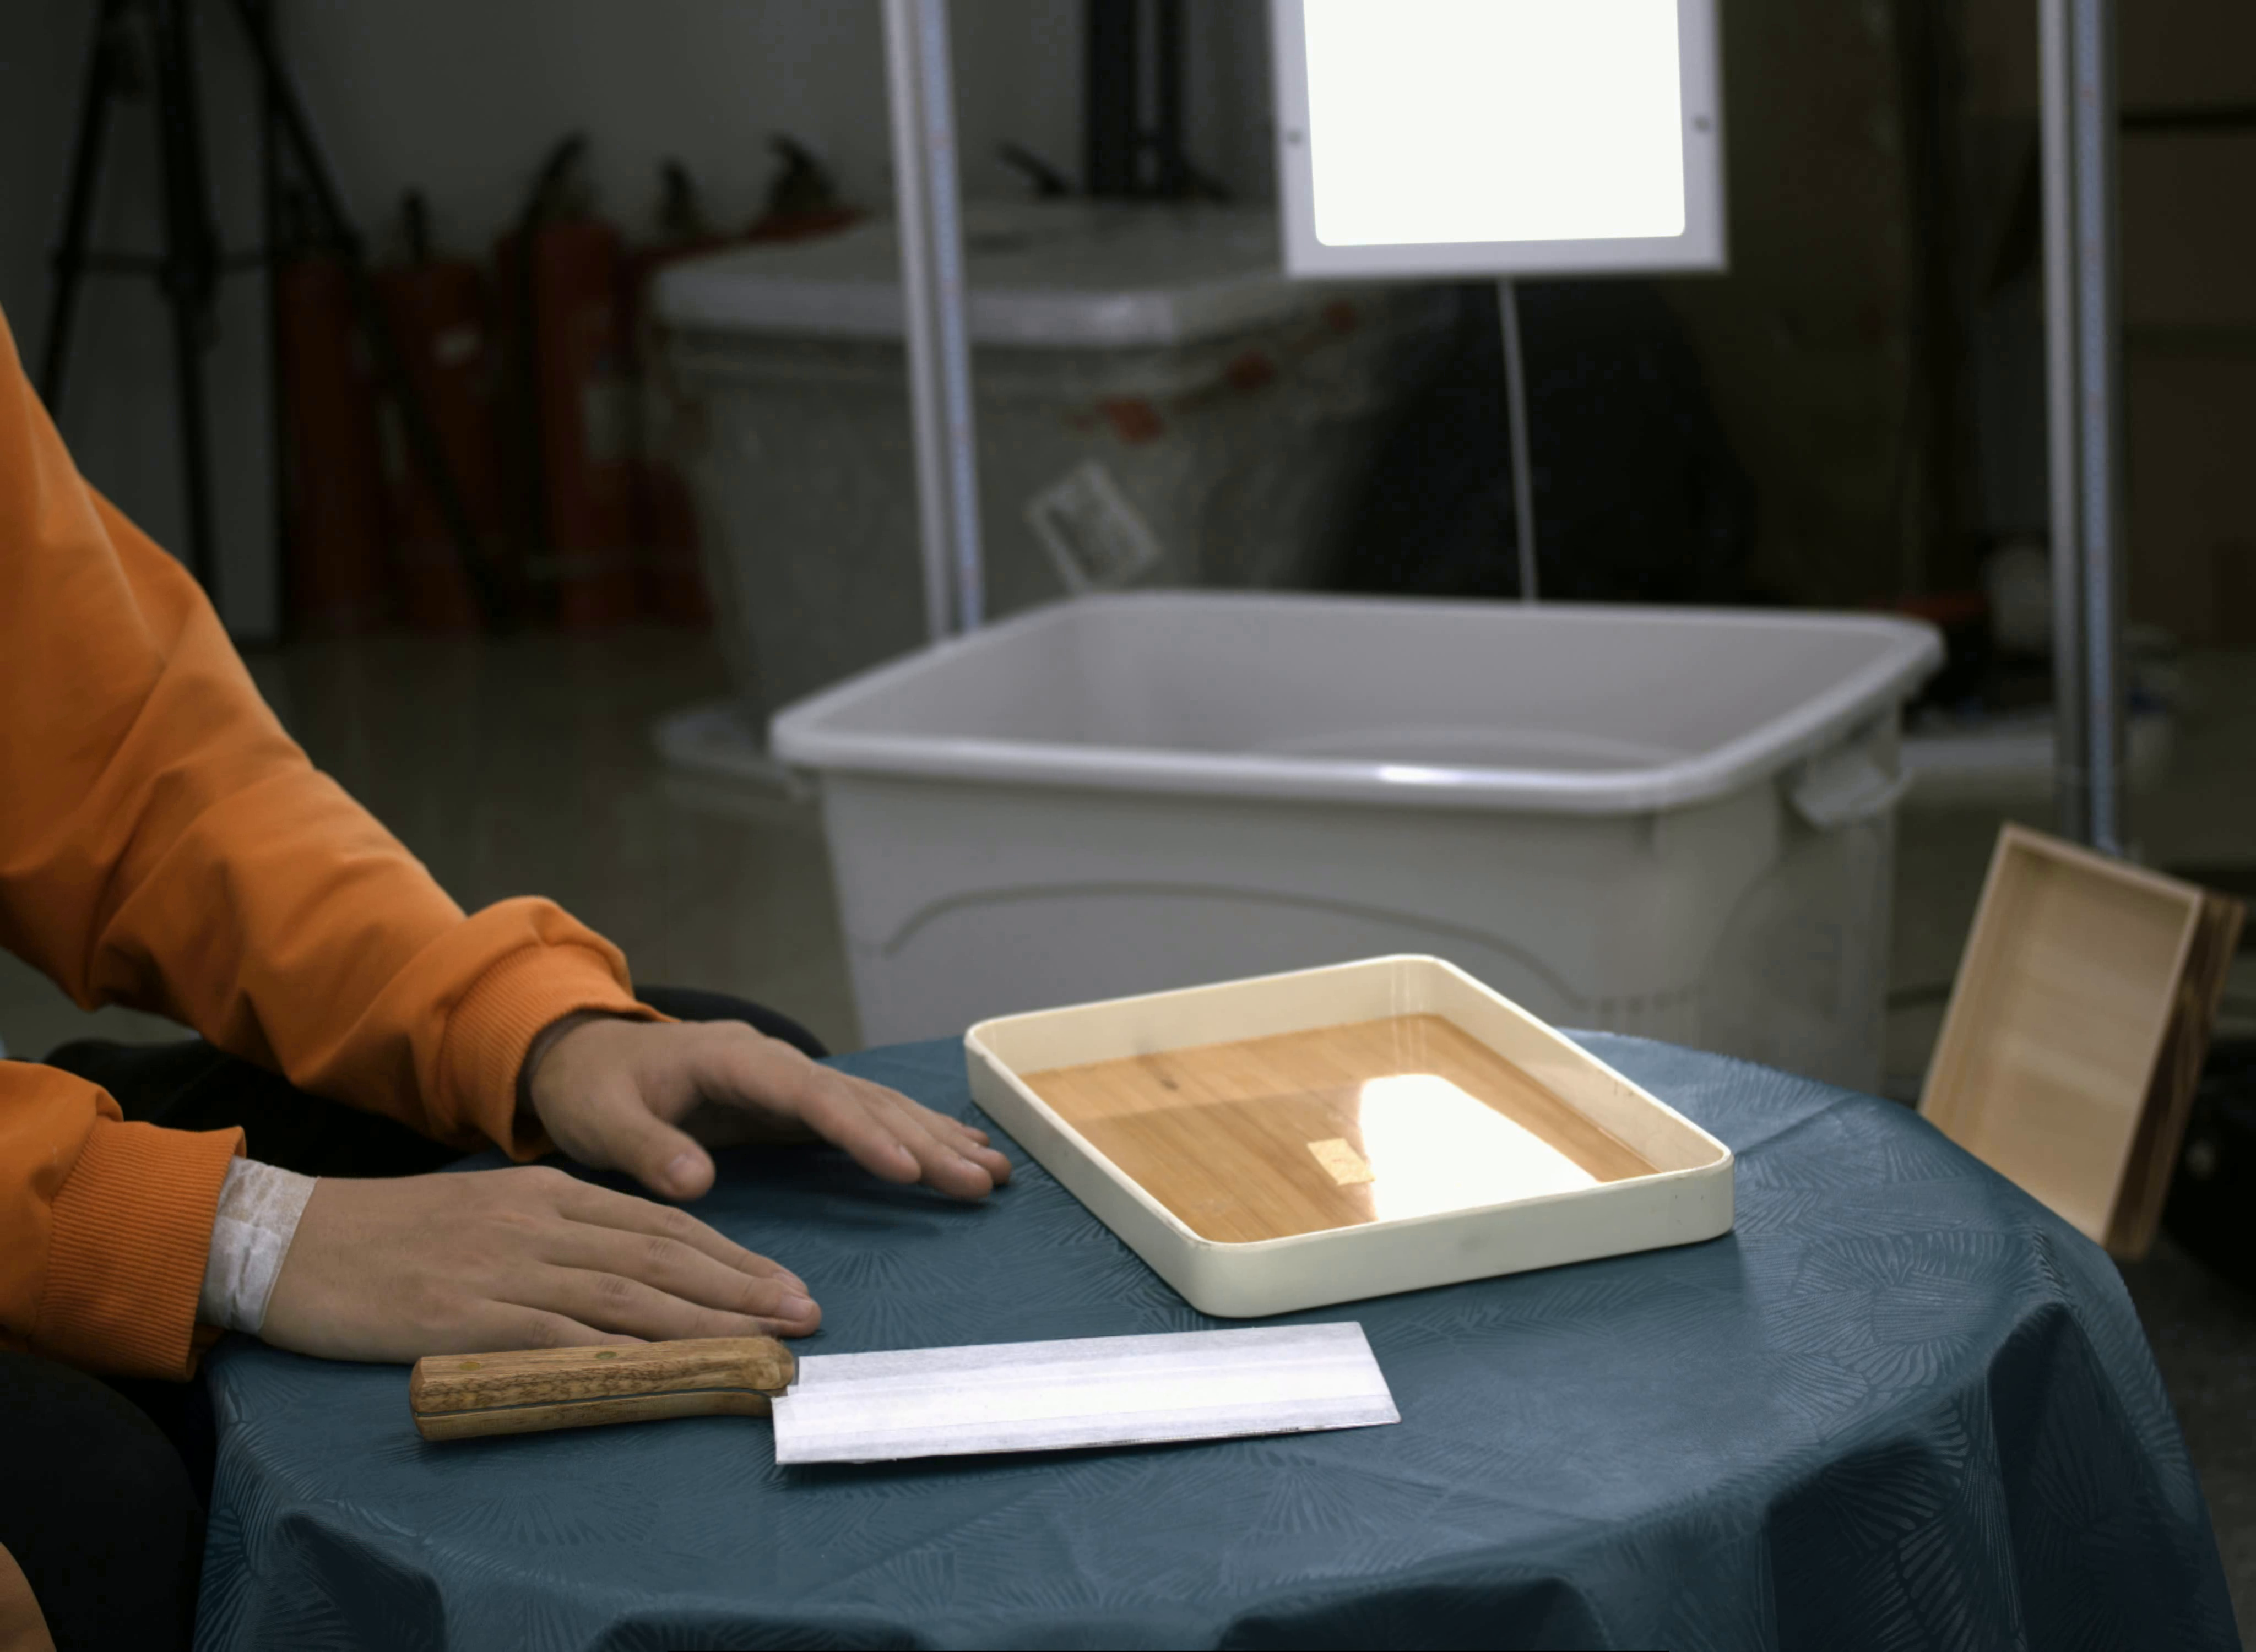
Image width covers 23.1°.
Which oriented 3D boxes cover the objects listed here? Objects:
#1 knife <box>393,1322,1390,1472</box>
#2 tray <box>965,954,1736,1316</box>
[{"bbox_3d":[-0.073,0.176,1.690,0.304,0.021,0.093,-3,15,-3],"label":"knife"},{"bbox_3d":[0.071,0.103,1.908,0.189,0.027,0.303,-9,15,-15],"label":"tray"}]
